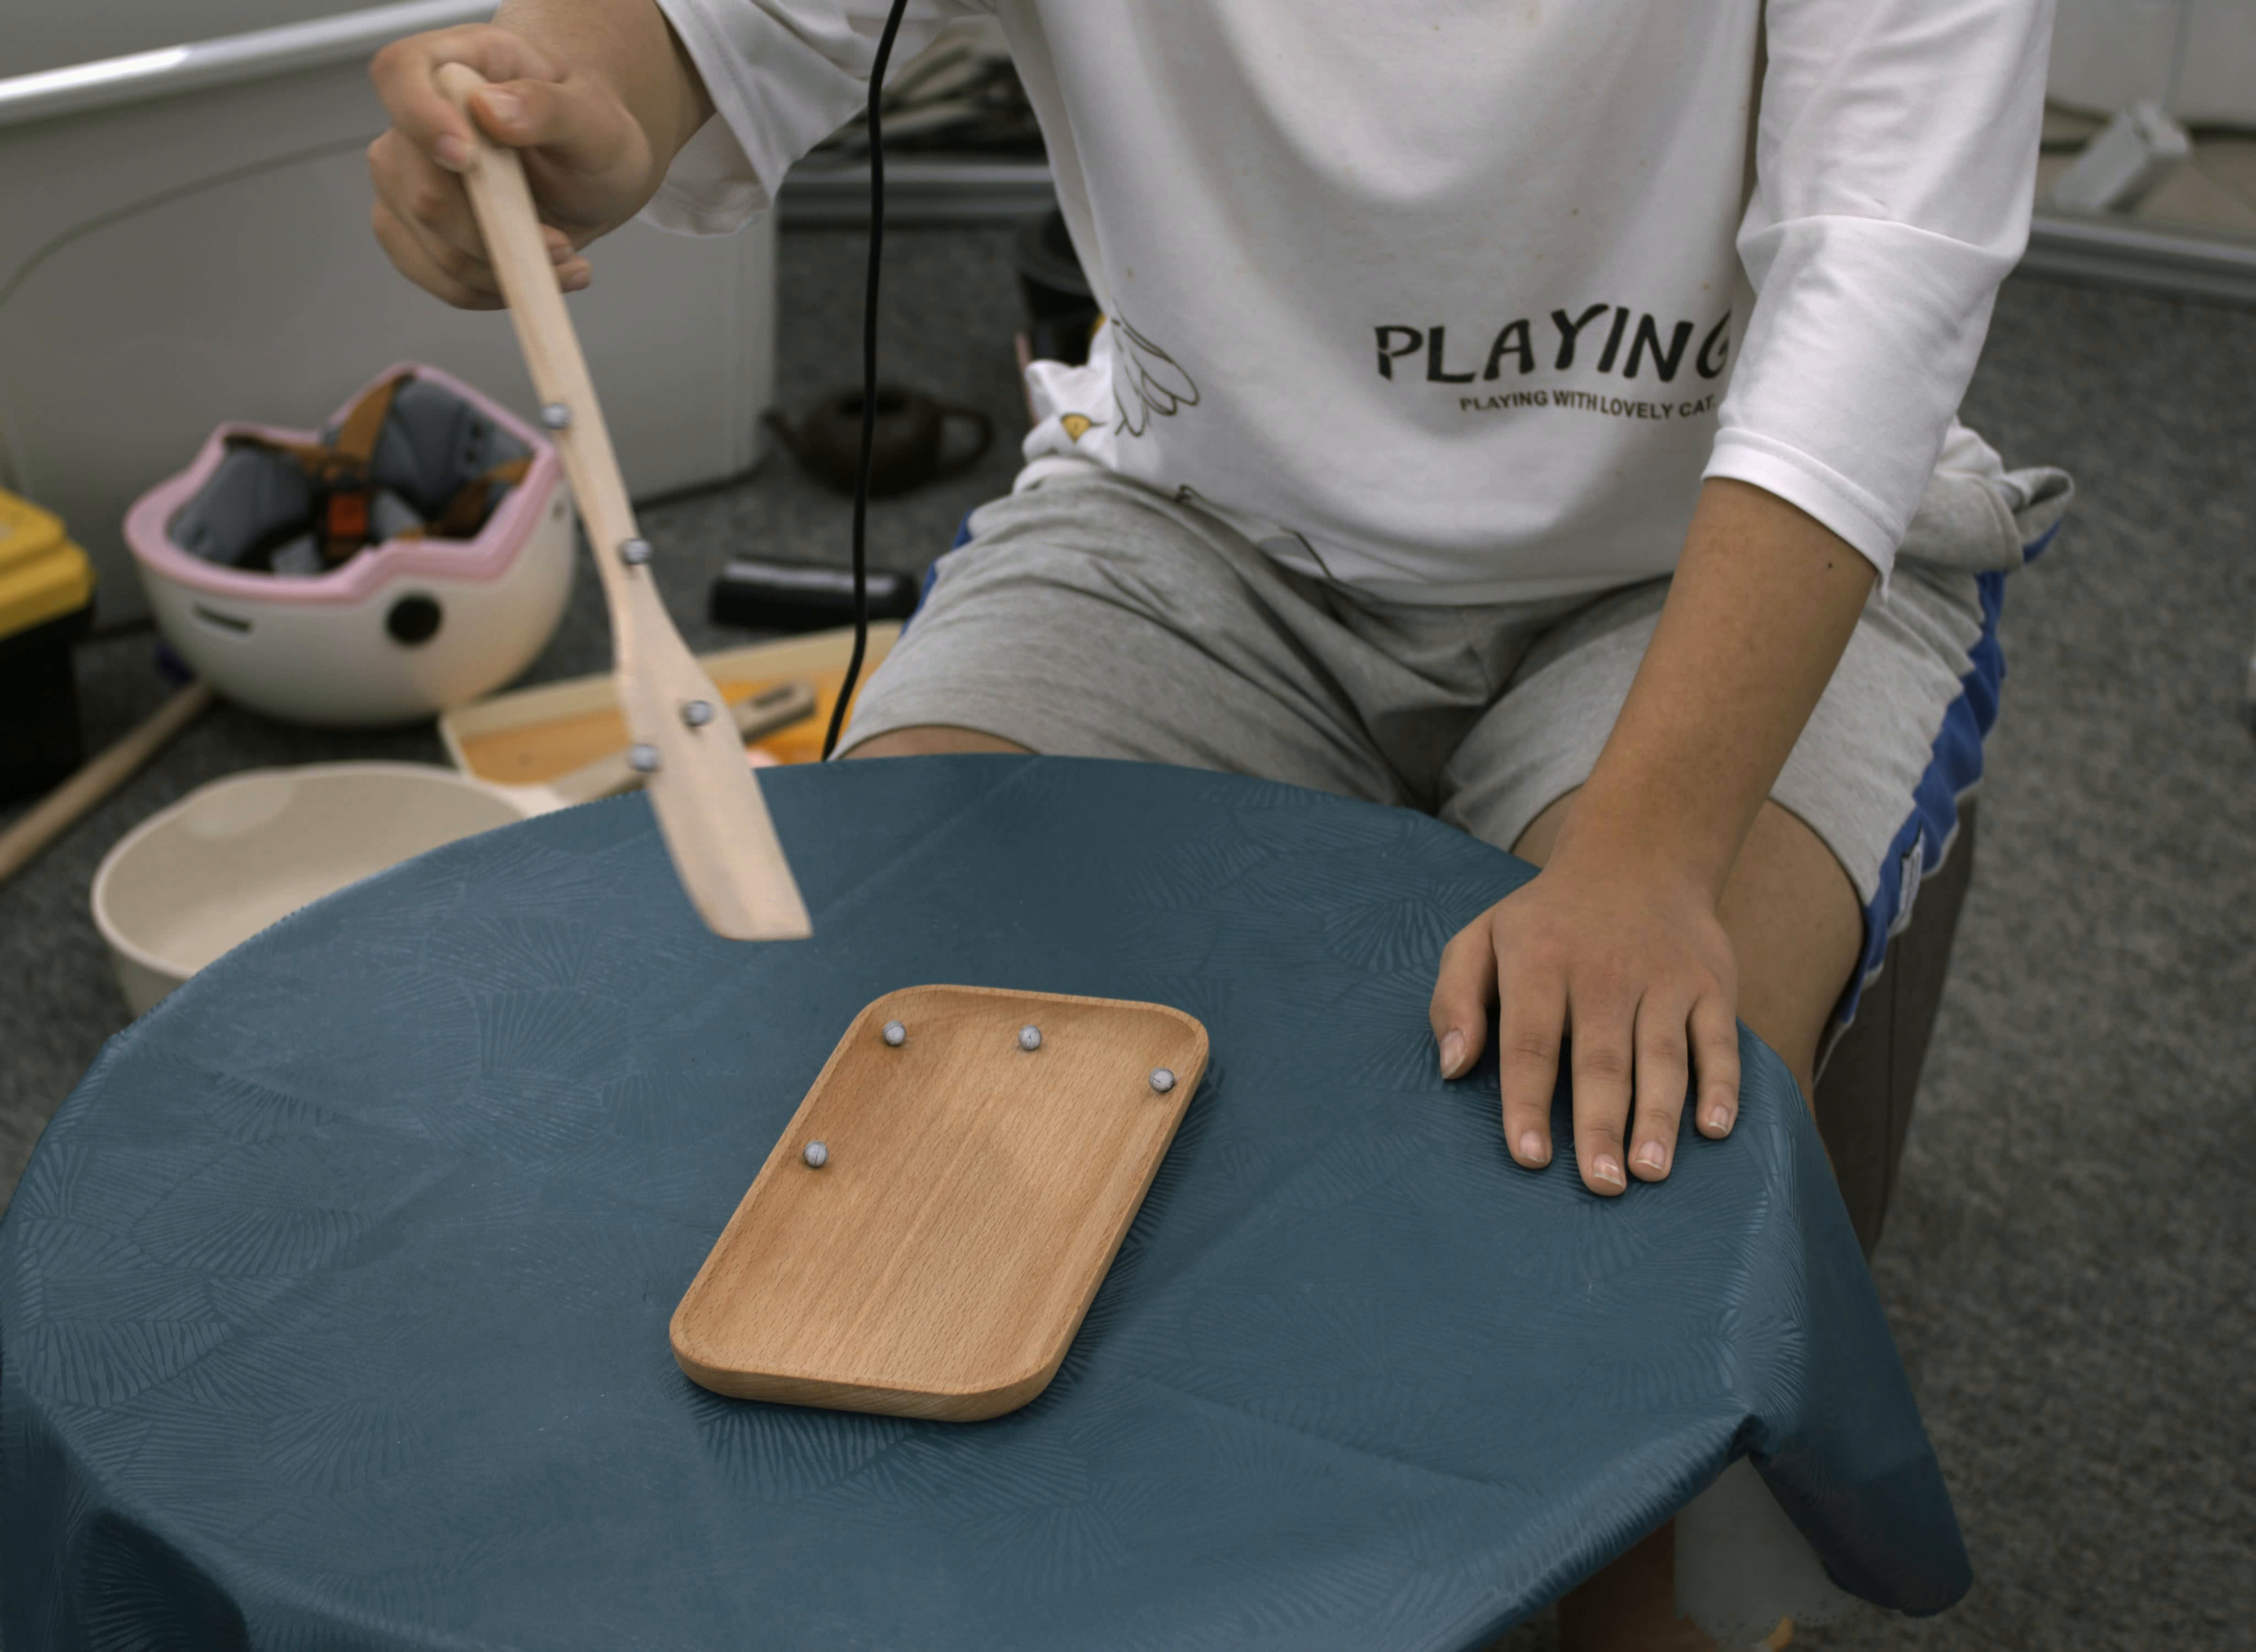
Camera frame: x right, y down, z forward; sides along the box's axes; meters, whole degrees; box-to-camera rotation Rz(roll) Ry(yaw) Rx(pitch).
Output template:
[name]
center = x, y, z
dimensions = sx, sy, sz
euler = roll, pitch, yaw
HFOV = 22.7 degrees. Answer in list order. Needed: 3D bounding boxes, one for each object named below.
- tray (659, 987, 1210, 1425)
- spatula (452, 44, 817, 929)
[tray]
center = -0.060, 0.122, 1.851
dimensions = 0.129, 0.022, 0.255
euler = 3, 28, 16
[spatula]
center = -0.158, -0.105, 1.736
dimensions = 0.010, 0.295, 0.072
euler = -22, -9, 18
